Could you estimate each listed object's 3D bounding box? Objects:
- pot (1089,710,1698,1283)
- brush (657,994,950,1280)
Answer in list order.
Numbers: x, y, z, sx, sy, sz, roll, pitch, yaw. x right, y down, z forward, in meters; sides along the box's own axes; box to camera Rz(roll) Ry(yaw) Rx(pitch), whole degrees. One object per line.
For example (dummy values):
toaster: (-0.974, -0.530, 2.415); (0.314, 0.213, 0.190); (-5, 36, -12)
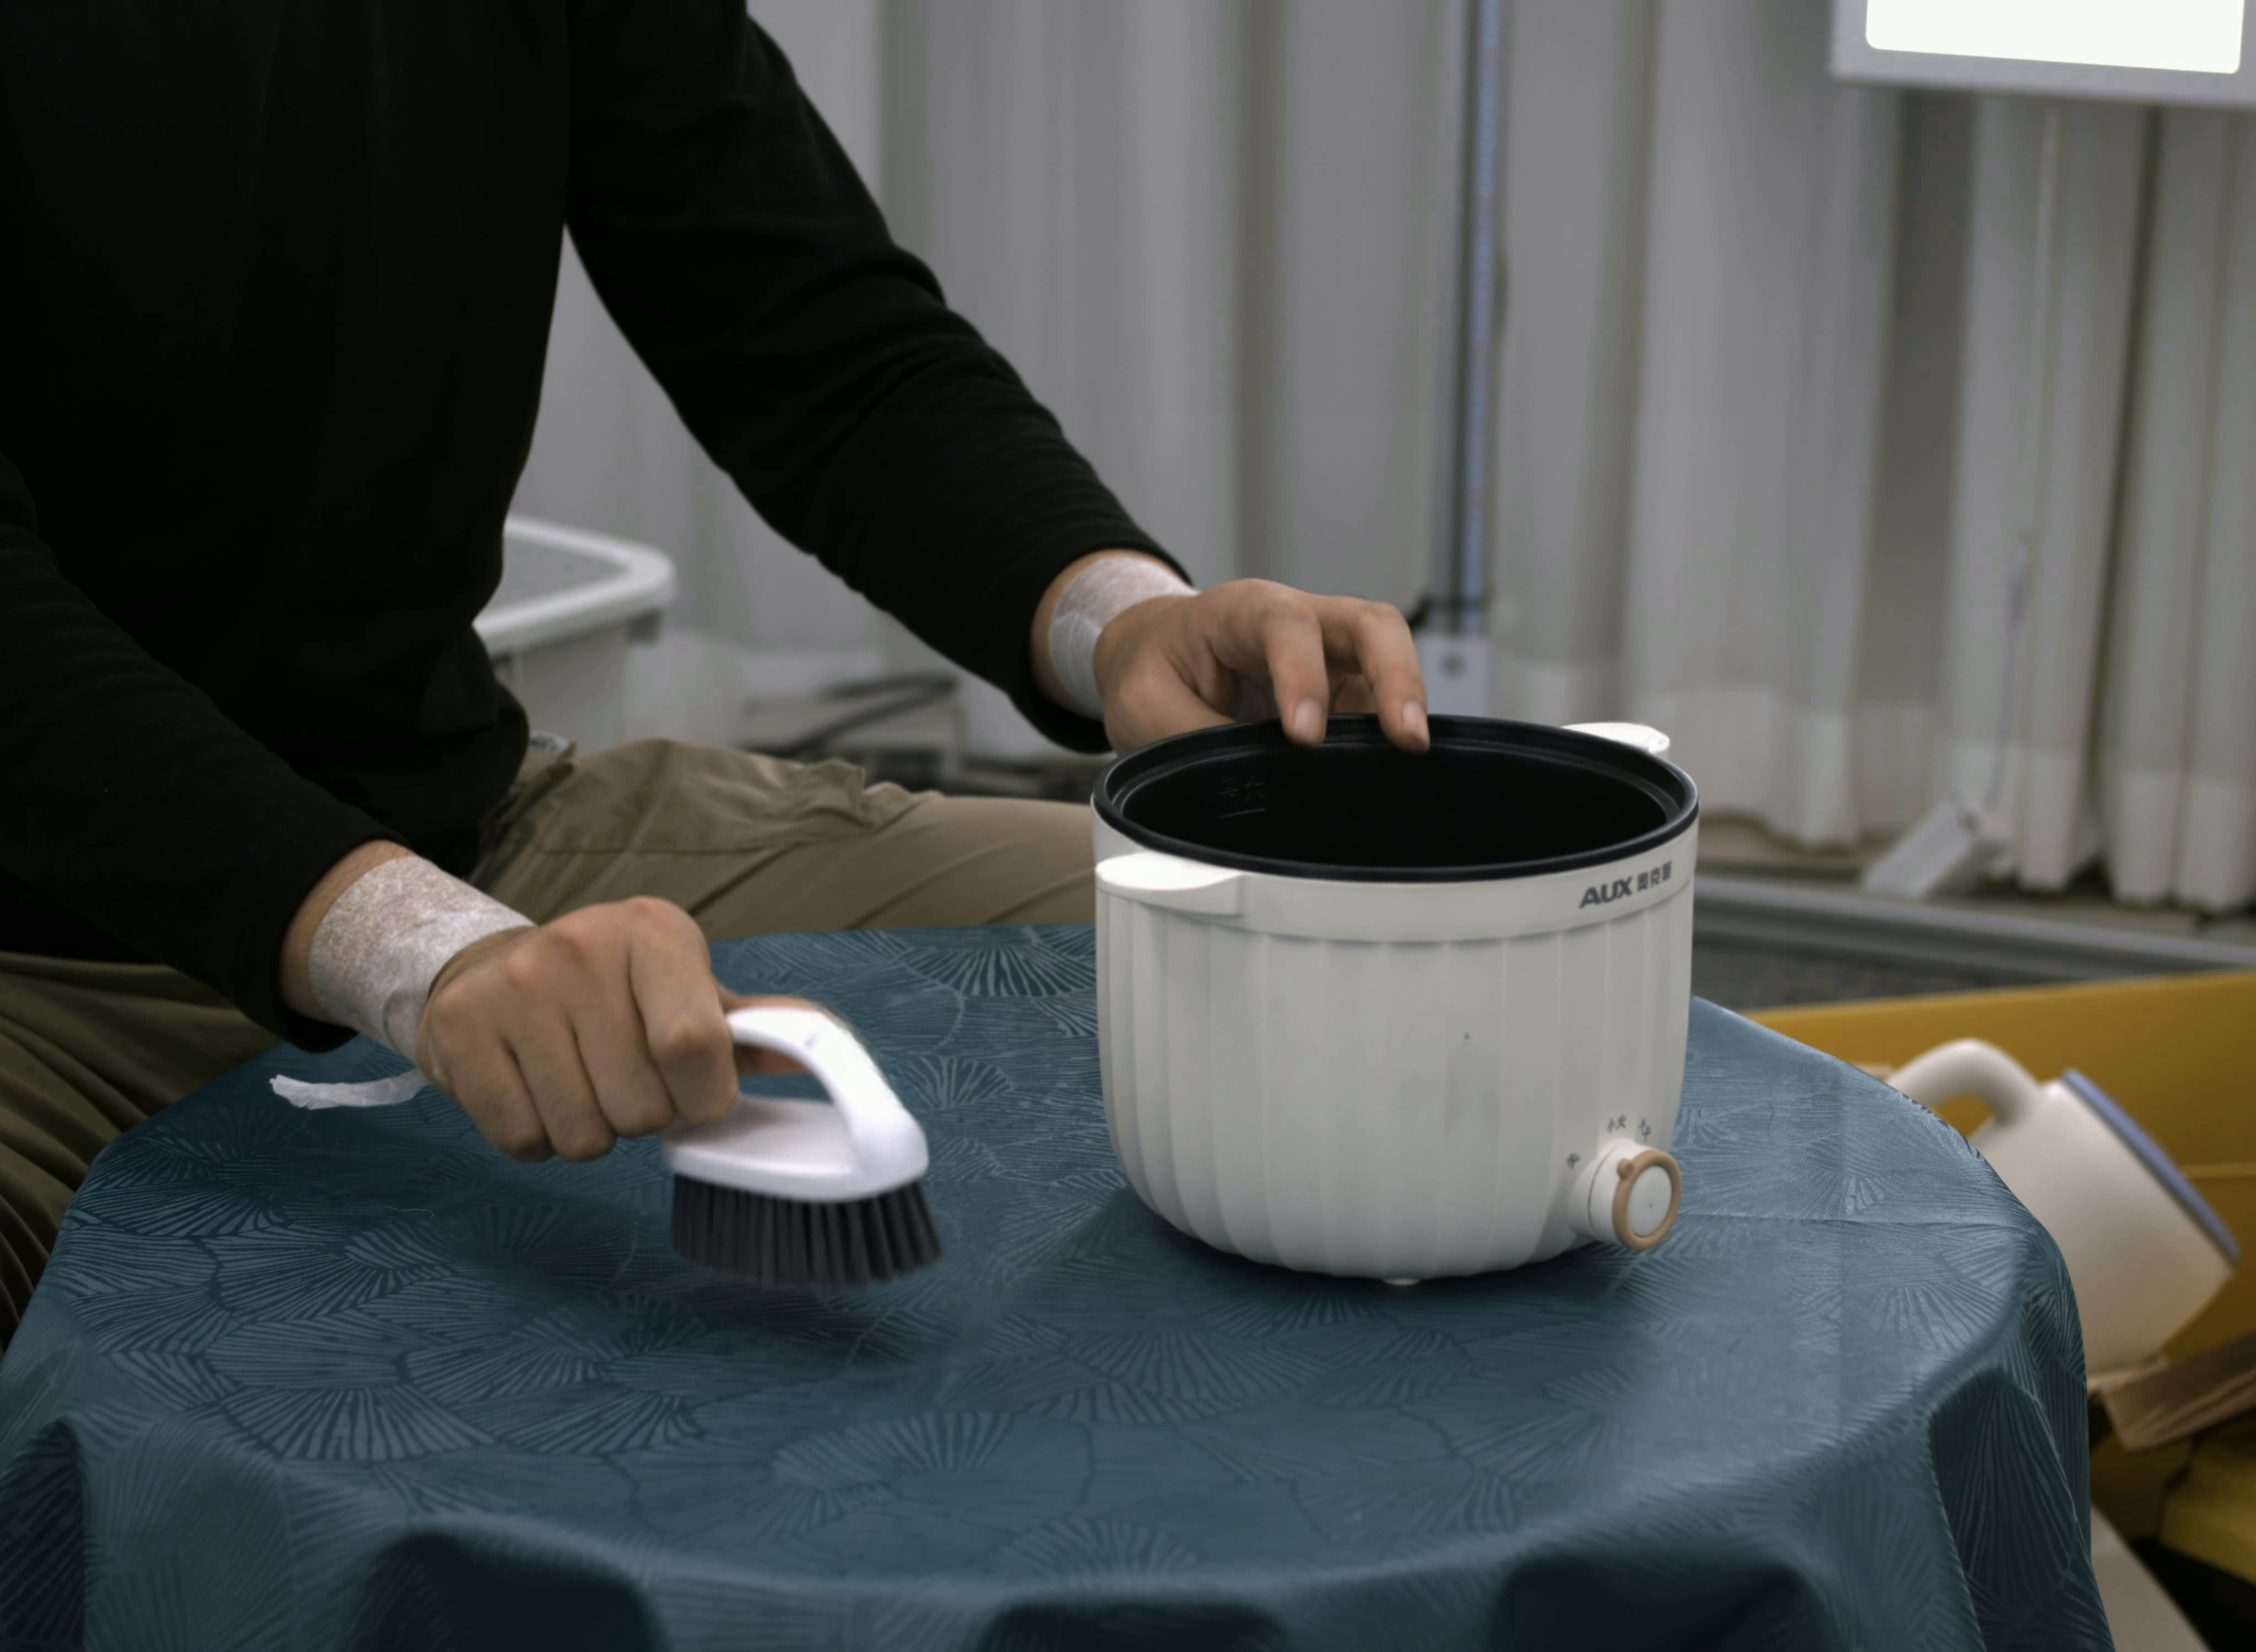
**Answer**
pot: (0.084, 0.052, 1.580); (0.188, 0.144, 0.241); (11, 20, 41)
brush: (-0.097, 0.084, 1.496); (0.050, 0.073, 0.098); (-22, 18, -37)
